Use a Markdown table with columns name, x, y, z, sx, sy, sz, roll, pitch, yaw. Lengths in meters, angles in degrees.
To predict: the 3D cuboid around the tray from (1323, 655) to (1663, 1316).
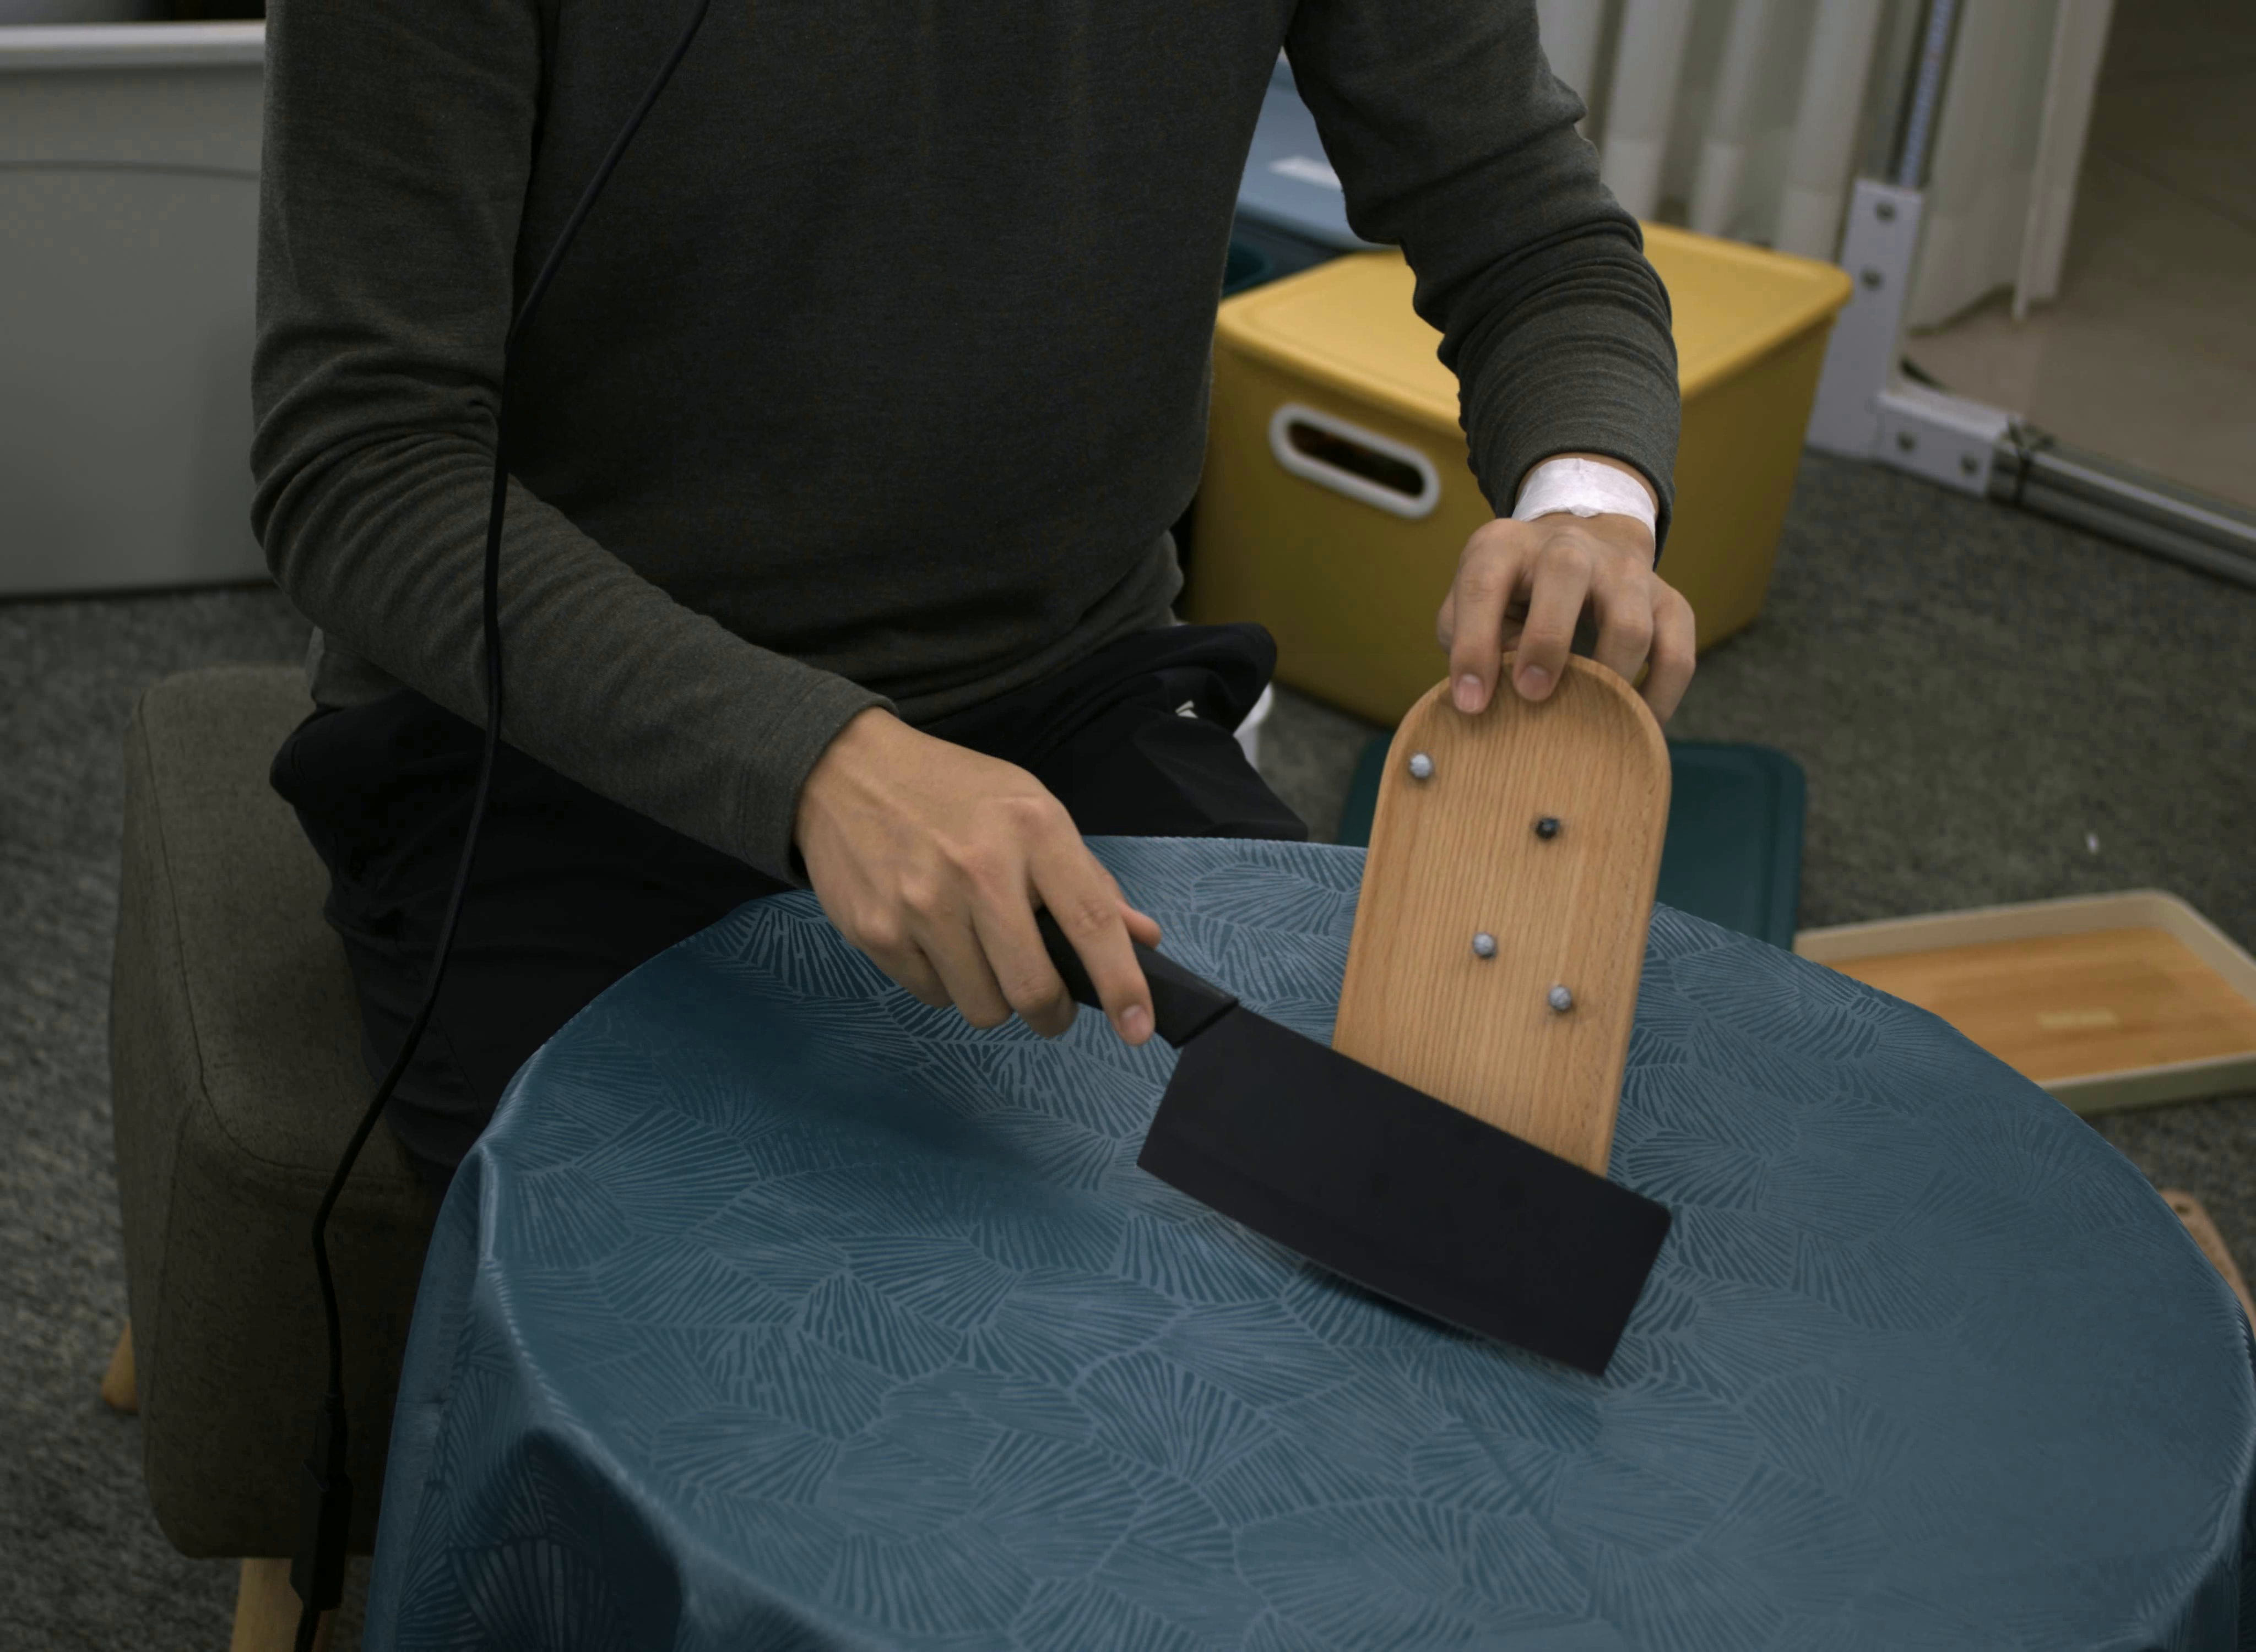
| name | x | y | z | sx | sy | sz | roll | pitch | yaw |
| --- | --- | --- | --- | --- | --- | --- | --- | --- | --- |
| tray | 0.123 | 0.052 | 1.783 | 0.102 | 0.232 | 0.020 | 0 | -19 | 22 |

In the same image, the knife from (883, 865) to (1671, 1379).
| name | x | y | z | sx | sy | sz | roll | pitch | yaw |
| --- | --- | --- | --- | --- | --- | --- | --- | --- | --- |
| knife | 0.042 | 0.093 | 1.774 | 0.304 | 0.081 | 0.021 | 30 | 4 | 24 |
